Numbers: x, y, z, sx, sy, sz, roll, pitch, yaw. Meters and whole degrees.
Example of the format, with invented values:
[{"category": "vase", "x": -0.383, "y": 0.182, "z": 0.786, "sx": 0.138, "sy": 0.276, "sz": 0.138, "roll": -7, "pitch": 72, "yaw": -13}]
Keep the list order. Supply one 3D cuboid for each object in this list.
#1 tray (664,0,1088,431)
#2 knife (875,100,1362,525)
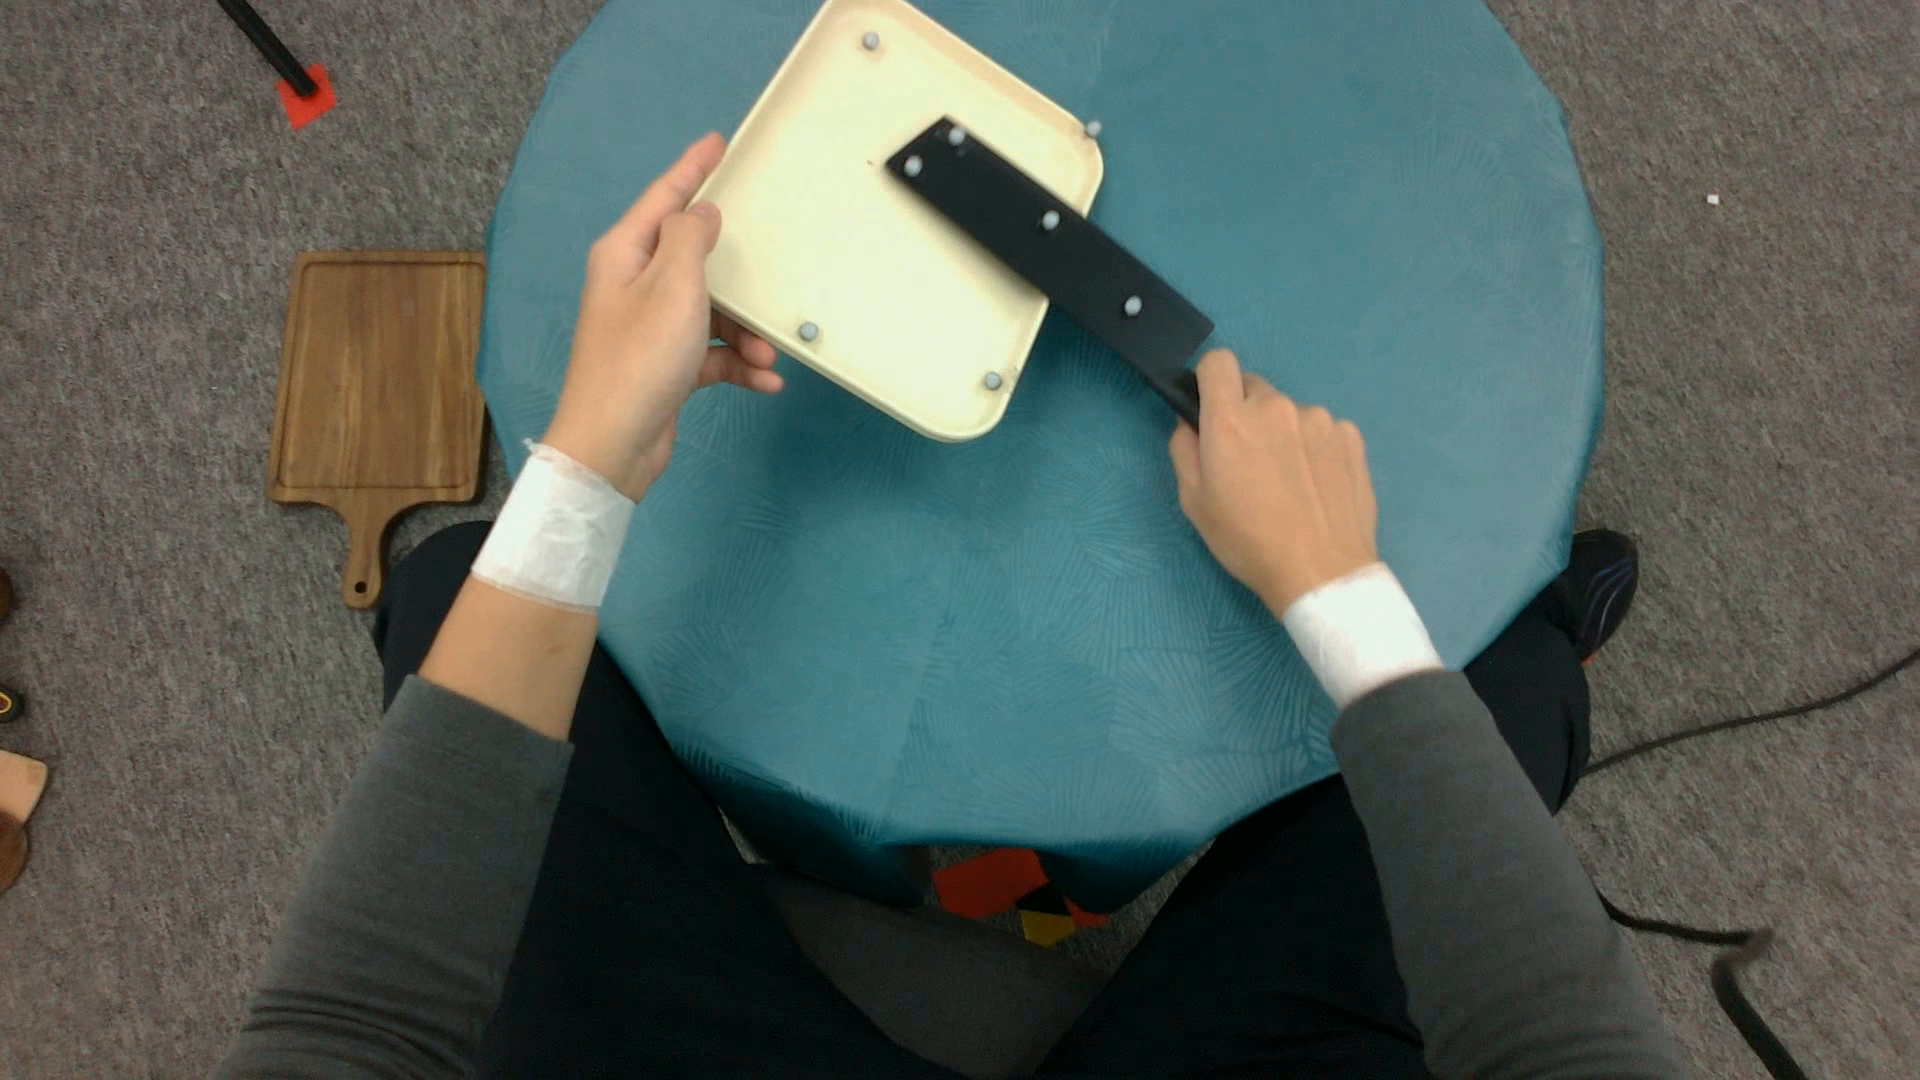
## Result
[{"category": "tray", "x": -0.032, "y": -0.170, "z": 0.677, "sx": 0.171, "sy": 0.017, "sz": 0.241, "roll": 30, "pitch": 54, "yaw": -13}, {"category": "knife", "x": 0.085, "y": -0.116, "z": 0.698, "sx": 0.302, "sy": 0.021, "sz": 0.081, "roll": 43, "pitch": 53, "yaw": 4}]
